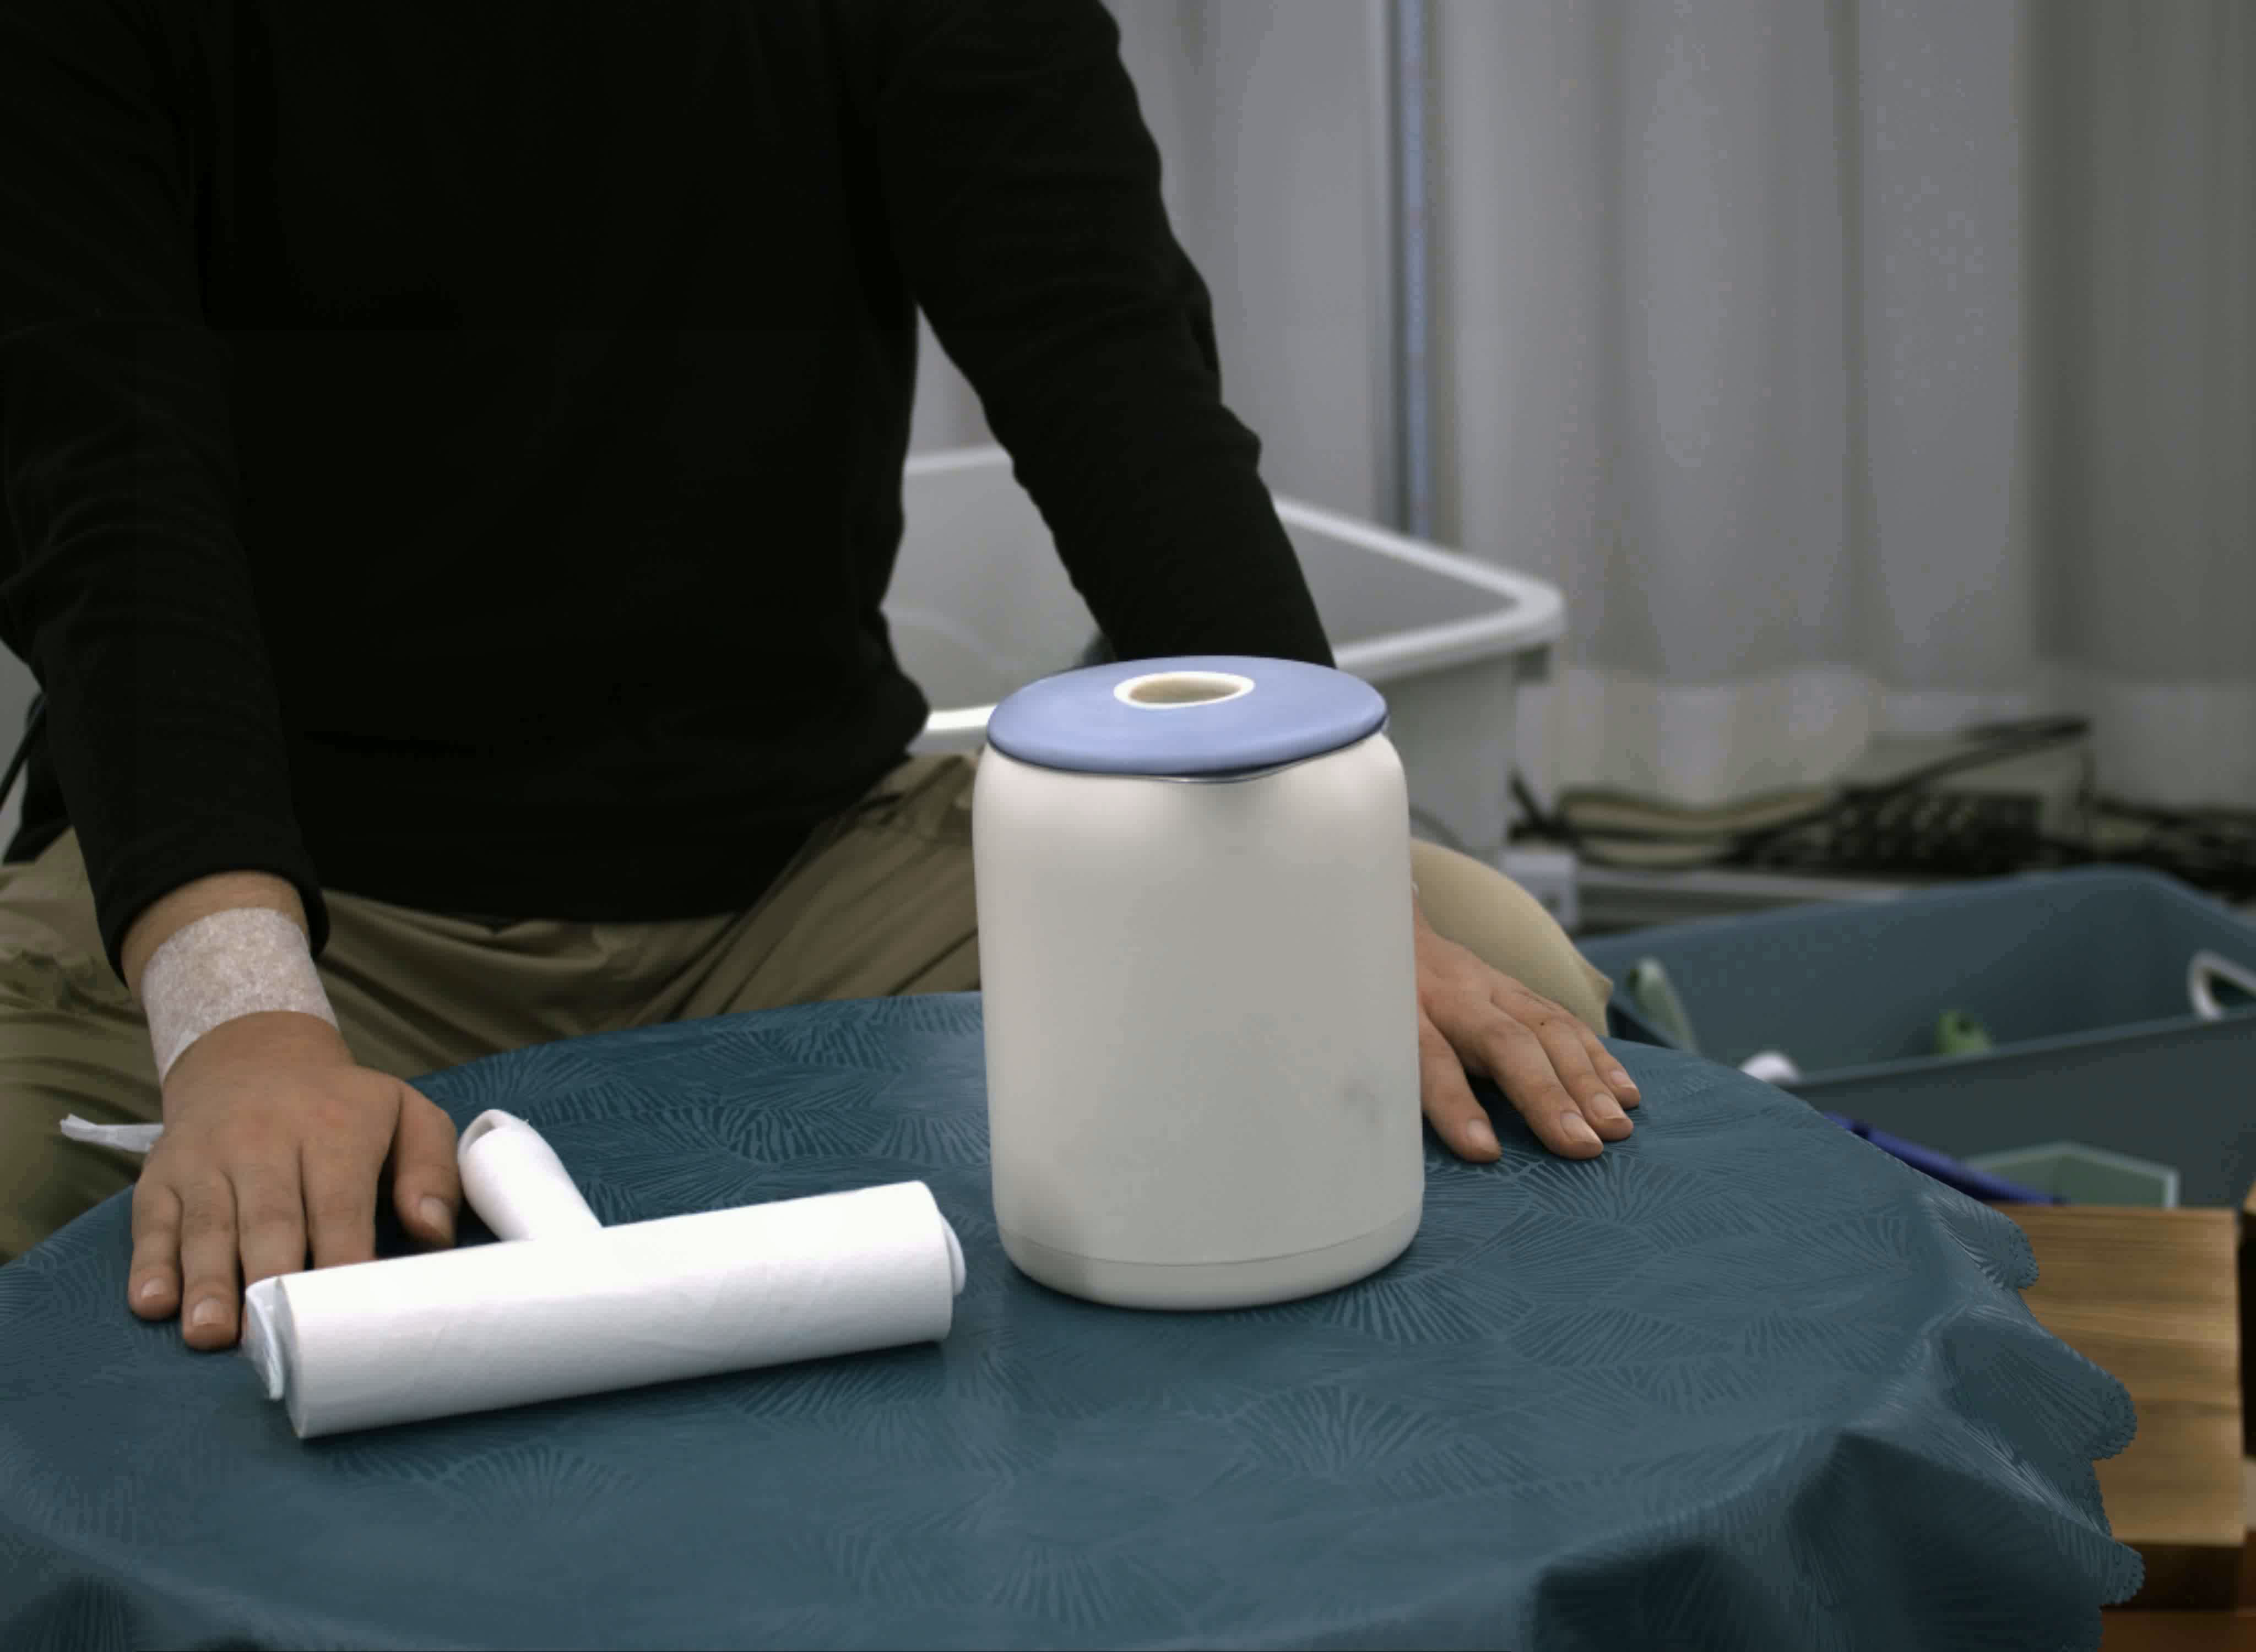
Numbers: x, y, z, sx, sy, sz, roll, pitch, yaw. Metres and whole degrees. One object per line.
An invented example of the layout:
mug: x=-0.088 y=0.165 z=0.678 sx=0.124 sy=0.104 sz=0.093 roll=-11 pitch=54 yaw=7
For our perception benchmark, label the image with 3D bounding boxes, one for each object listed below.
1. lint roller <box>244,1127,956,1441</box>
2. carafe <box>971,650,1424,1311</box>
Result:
lint roller: x=-0.175 y=0.119 z=1.650 sx=0.202 sy=0.048 sz=0.227 roll=-9 pitch=15 yaw=-17
carafe: x=0.015 y=0.040 z=1.662 sx=0.131 sy=0.182 sz=0.192 roll=-5 pitch=12 yaw=-12
